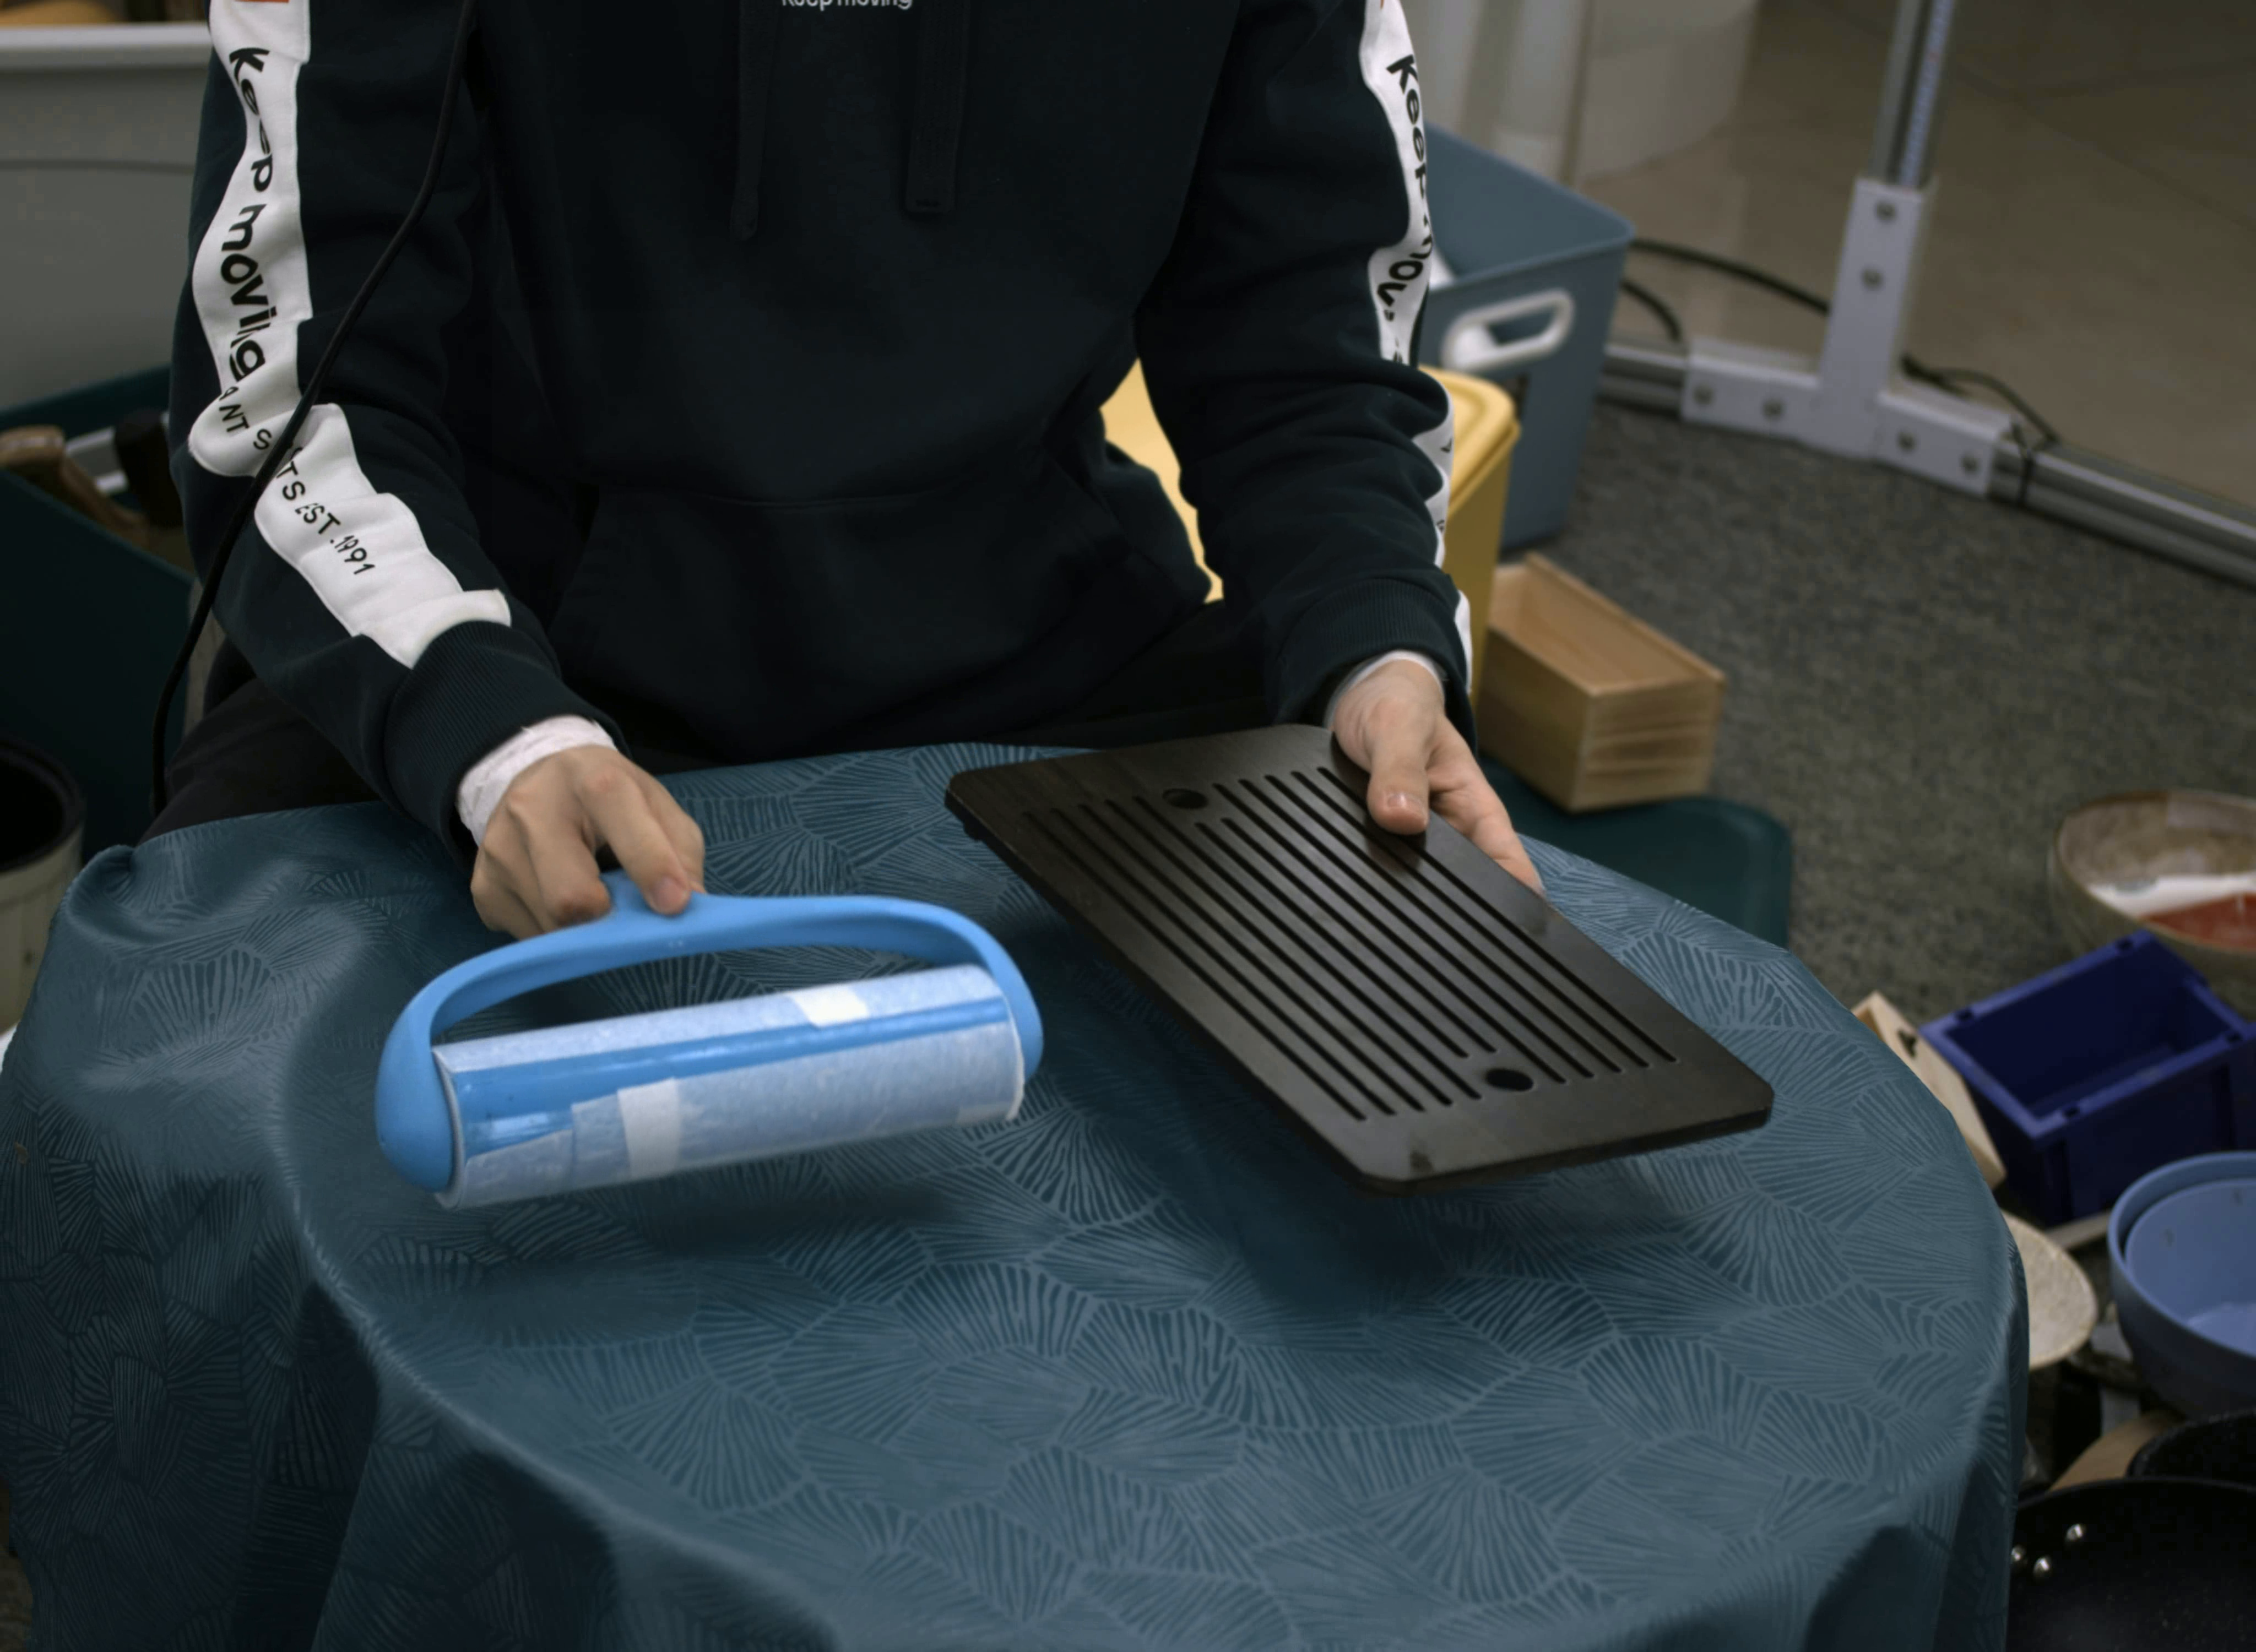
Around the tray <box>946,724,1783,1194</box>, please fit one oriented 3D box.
[{"bbox_3d":[0.077,0.043,1.869,0.169,0.018,0.309,-8,30,-30],"label":"tray"}]

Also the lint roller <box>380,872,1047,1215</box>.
[{"bbox_3d":[-0.159,0.052,1.773,0.227,0.067,0.182,-12,36,-24],"label":"lint roller"}]
